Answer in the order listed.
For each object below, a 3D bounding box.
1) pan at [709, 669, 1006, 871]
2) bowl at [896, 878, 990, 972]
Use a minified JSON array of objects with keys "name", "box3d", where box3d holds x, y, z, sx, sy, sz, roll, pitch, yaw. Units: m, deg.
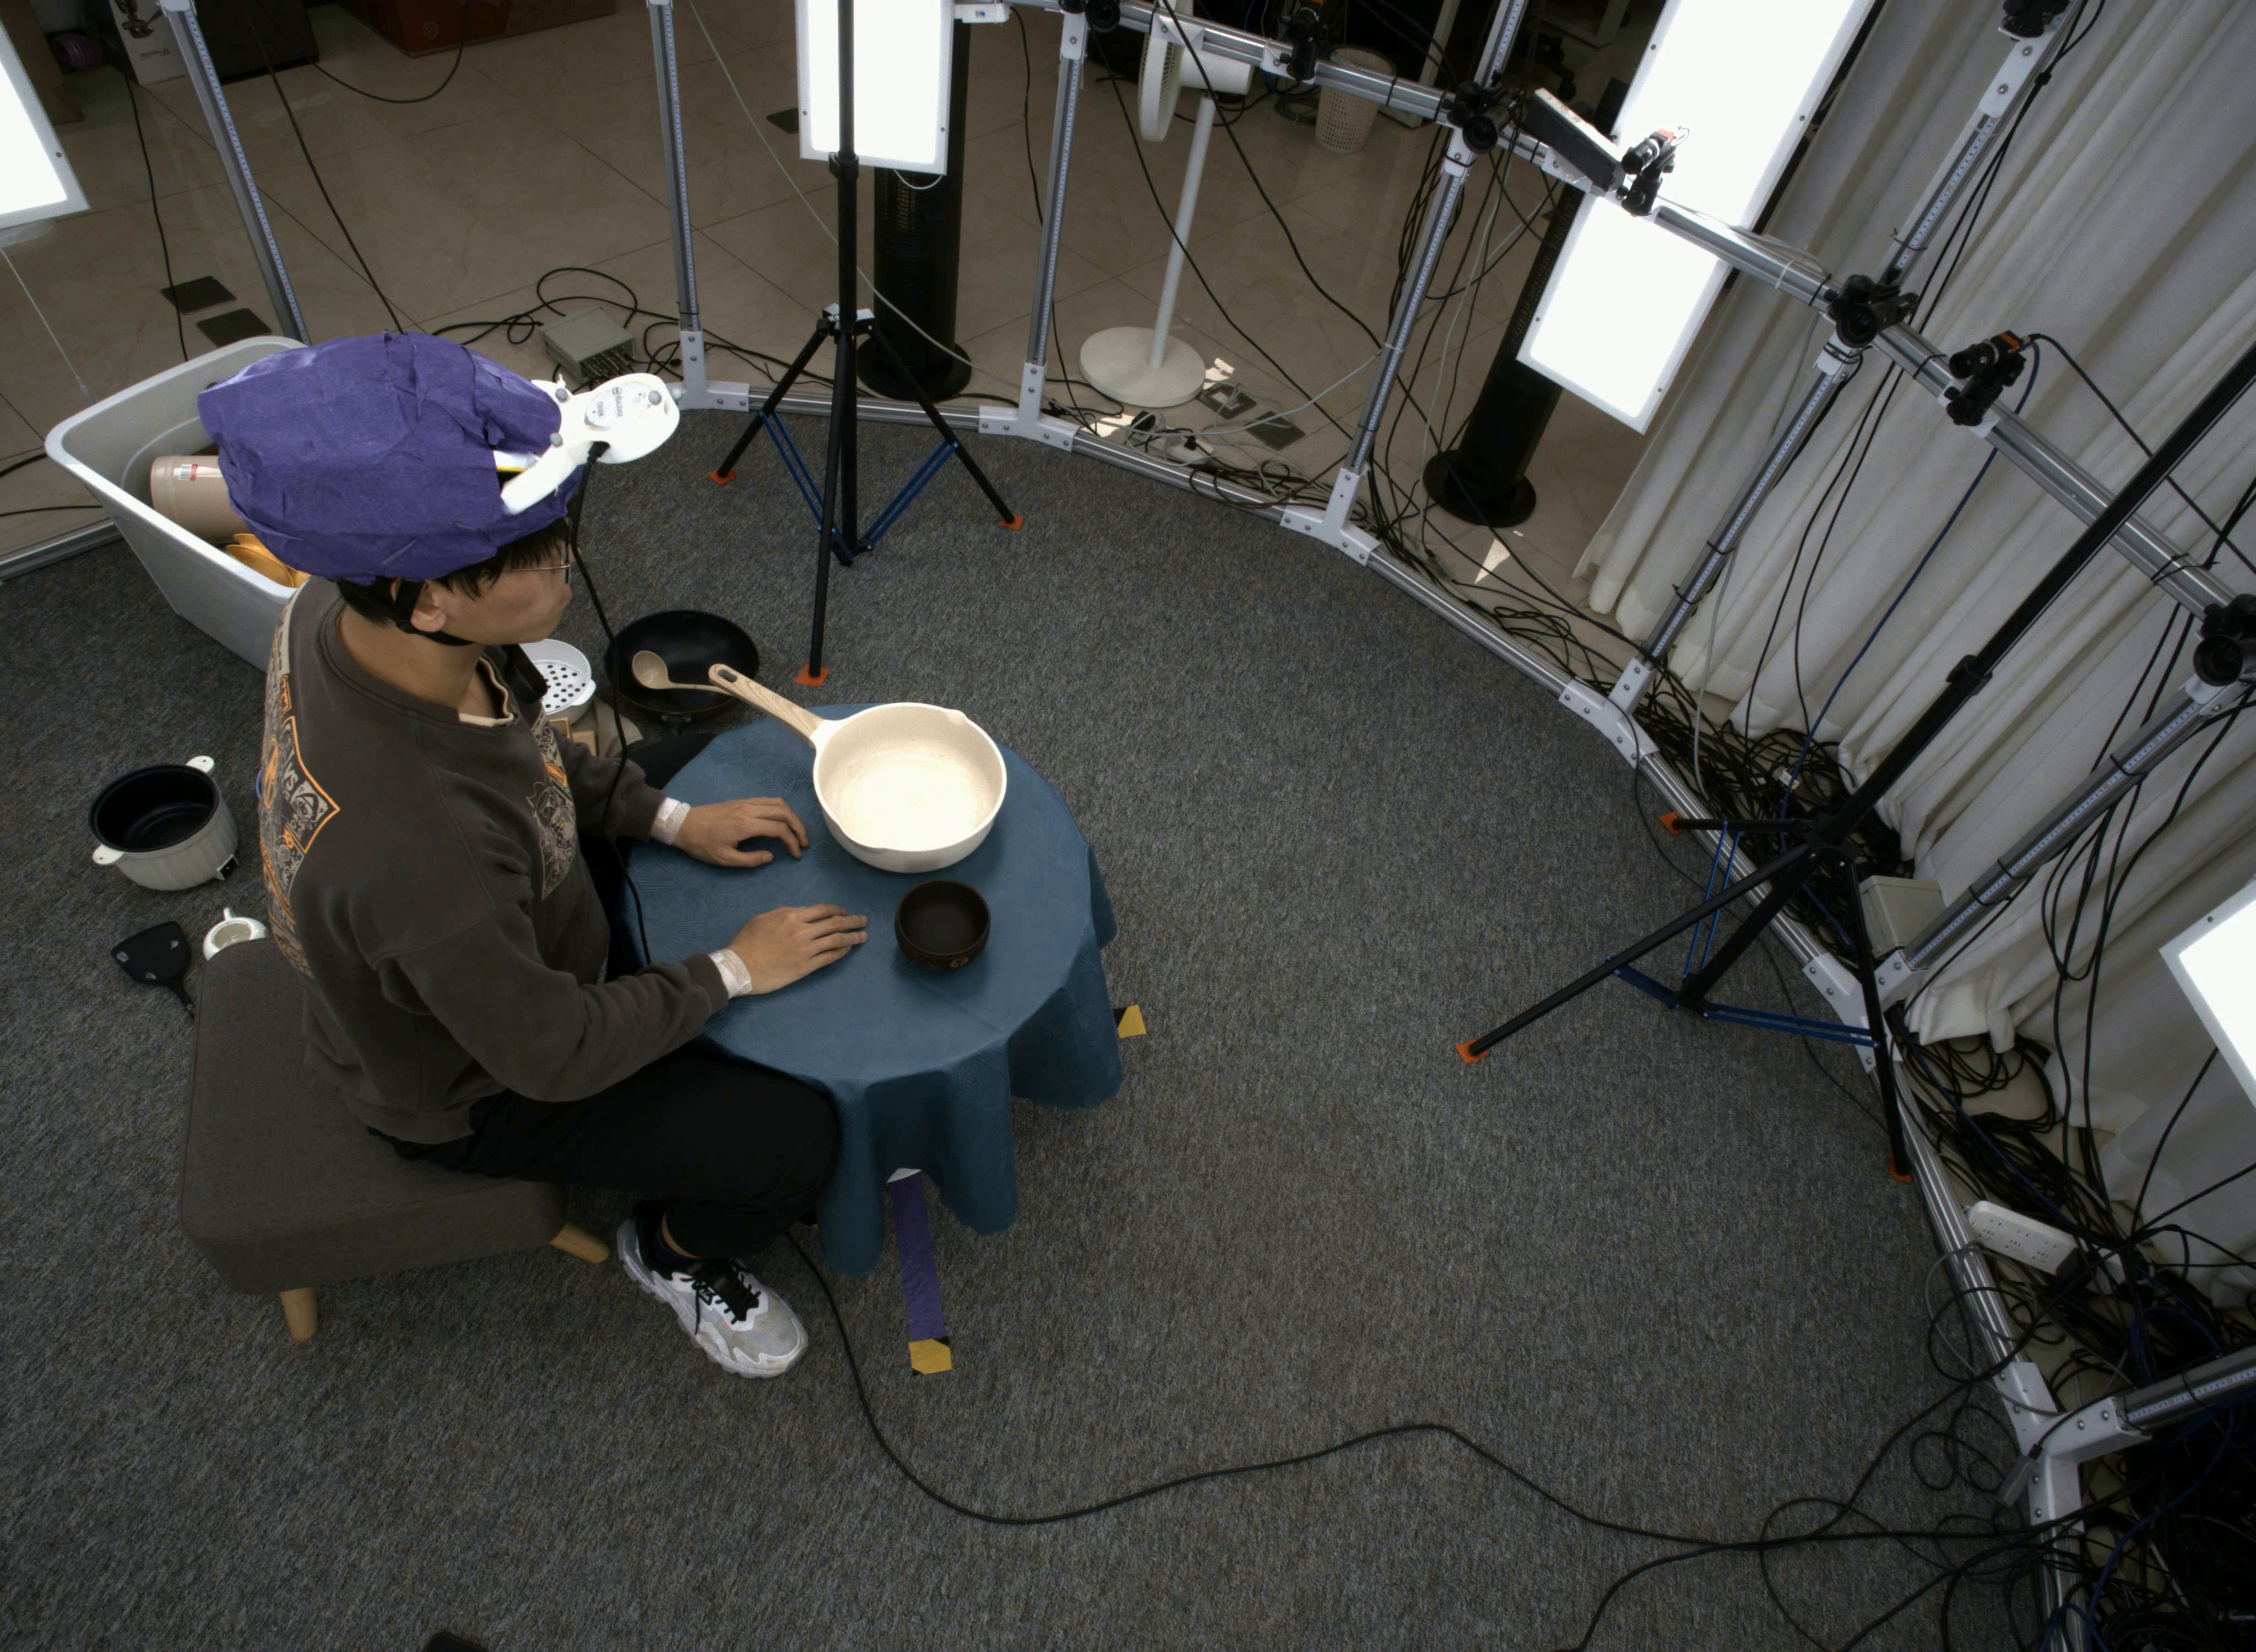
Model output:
[{"name":"pan","box3d":[-0.372,-0.091,1.755,0.429,0.104,0.262,25,55,6]},{"name":"bowl","box3d":[-0.234,0.131,1.643,0.117,0.071,0.116,6,55,-7]}]
